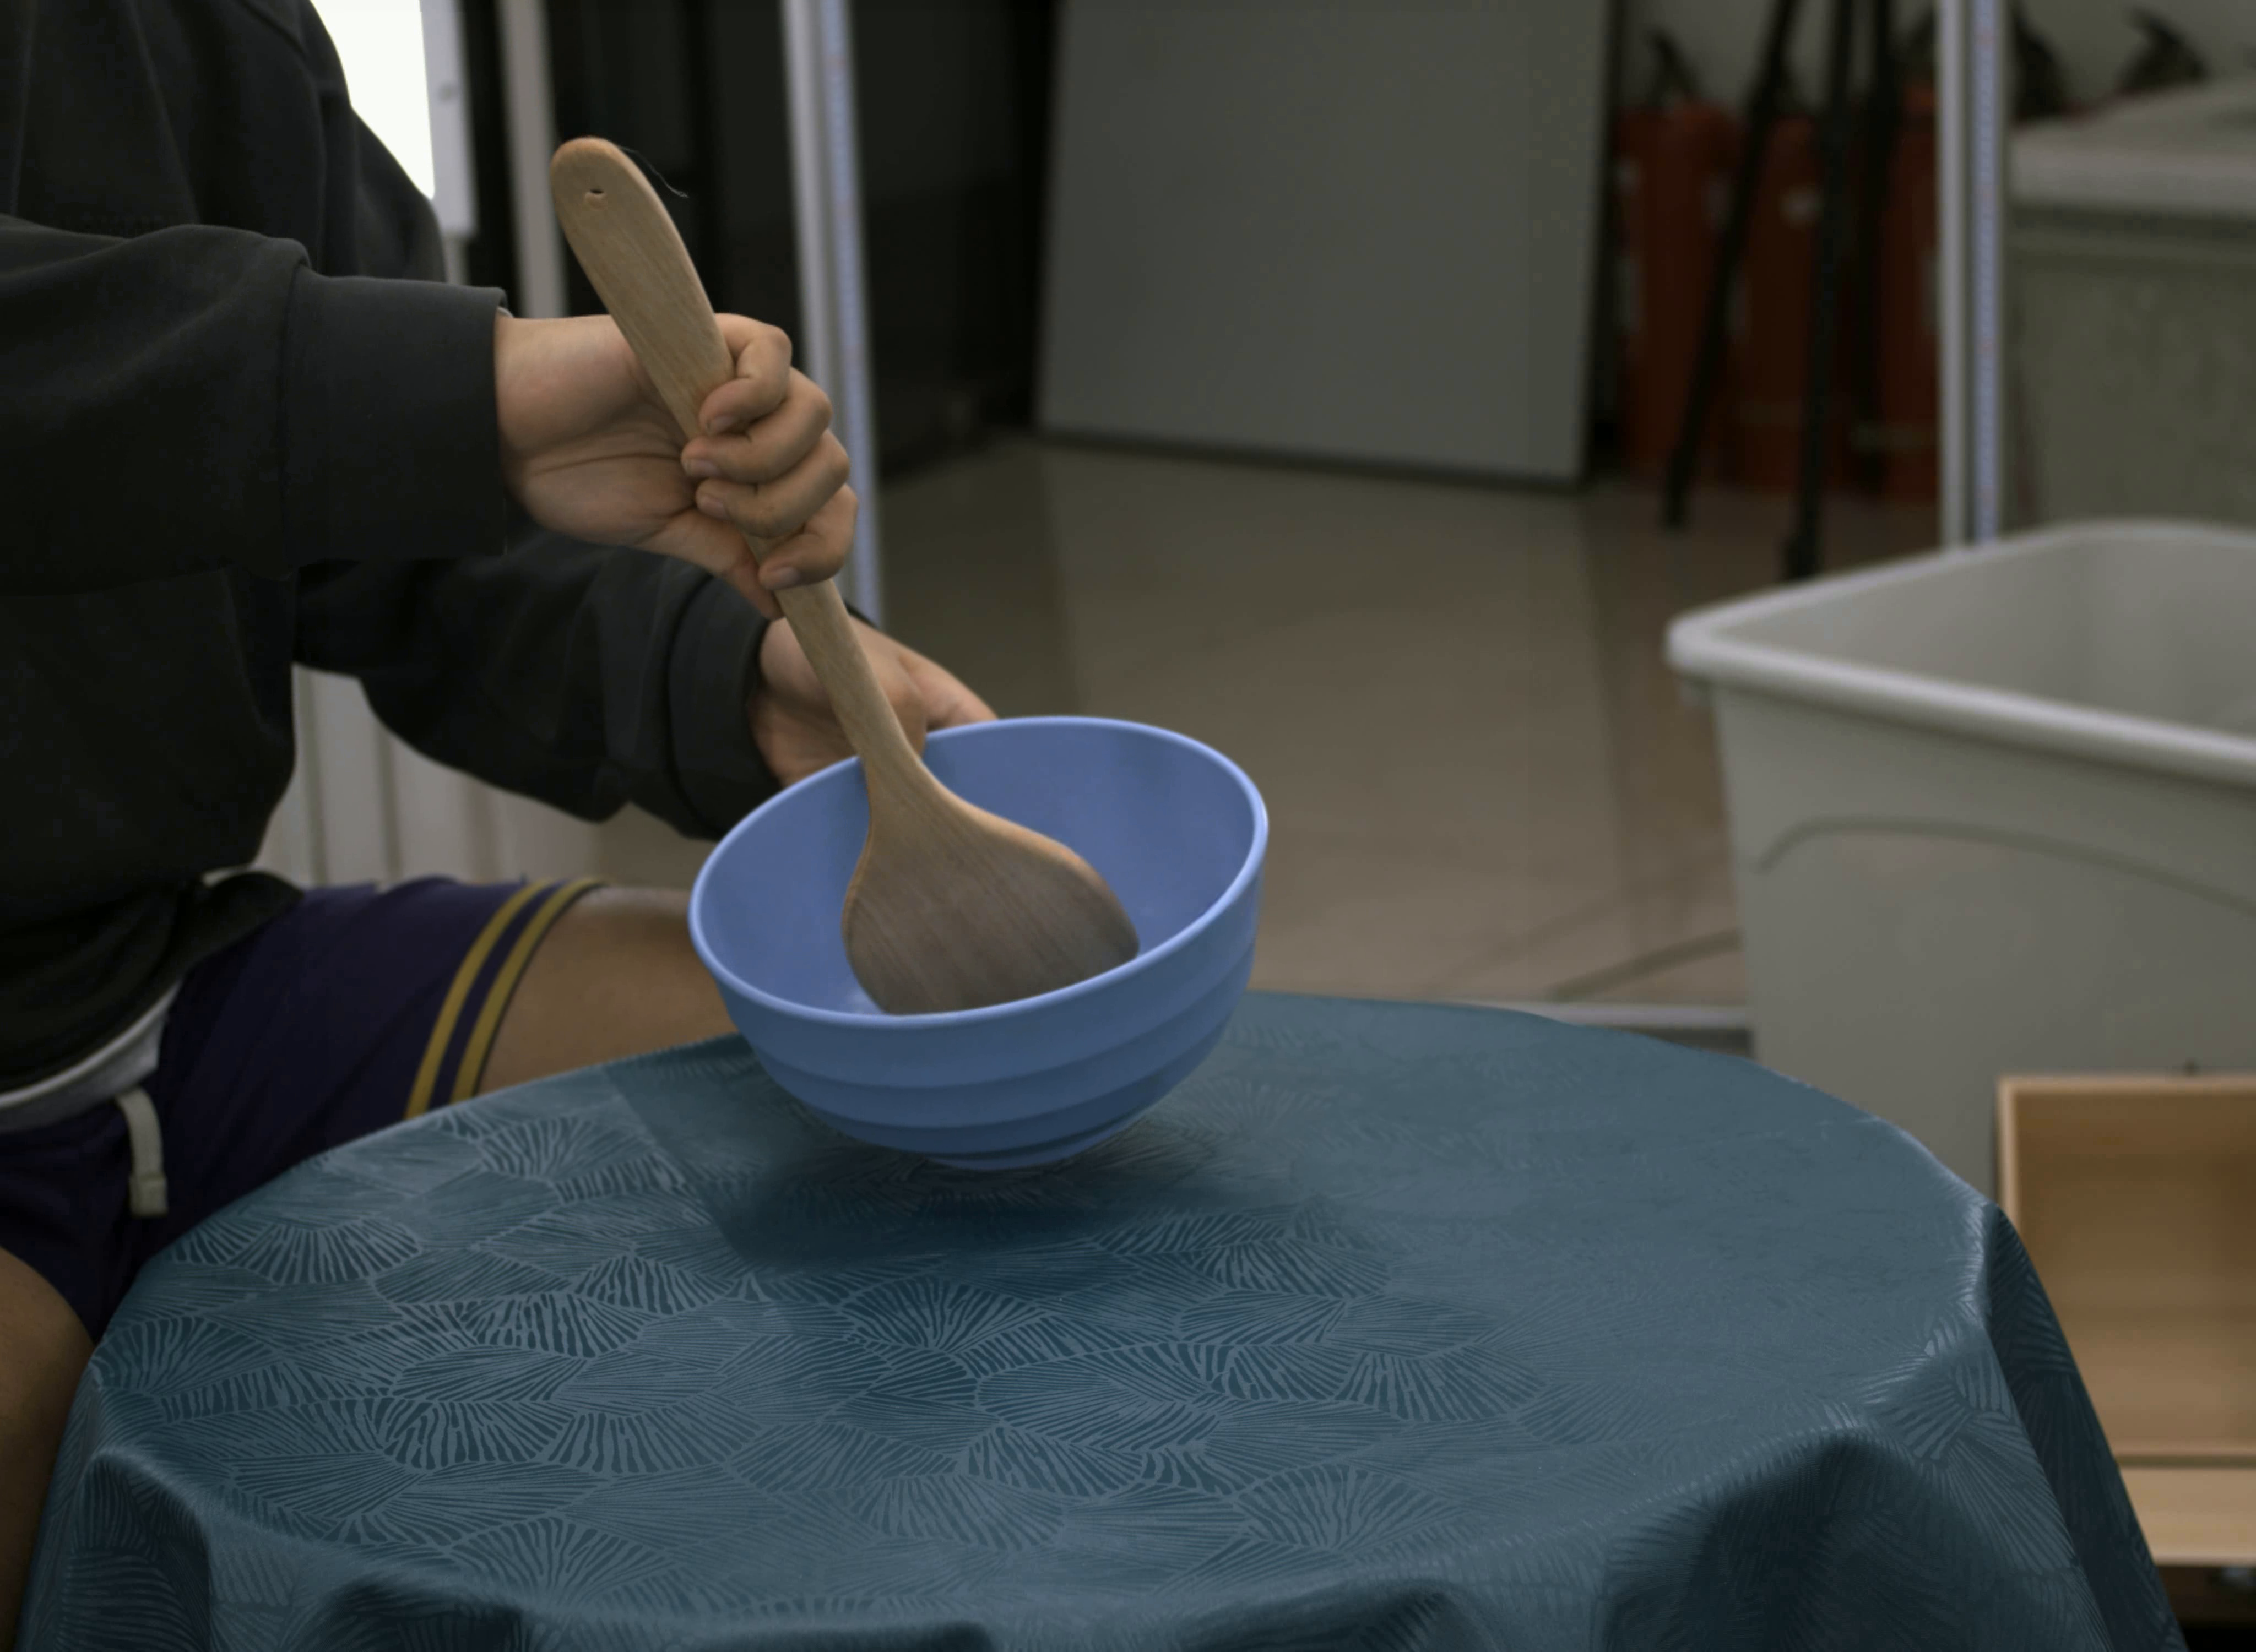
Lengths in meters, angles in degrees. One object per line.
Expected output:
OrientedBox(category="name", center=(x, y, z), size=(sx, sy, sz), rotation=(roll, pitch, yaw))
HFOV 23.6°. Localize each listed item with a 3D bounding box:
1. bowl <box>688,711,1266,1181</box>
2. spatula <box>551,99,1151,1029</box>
OrientedBox(category="bowl", center=(-0.043, 0.053, 1.802), size=(0.194, 0.096, 0.197), rotation=(-9, 31, 5))
OrientedBox(category="spatula", center=(-0.093, -0.072, 1.698), size=(0.095, 0.390, 0.018), rotation=(-17, 37, 9))
